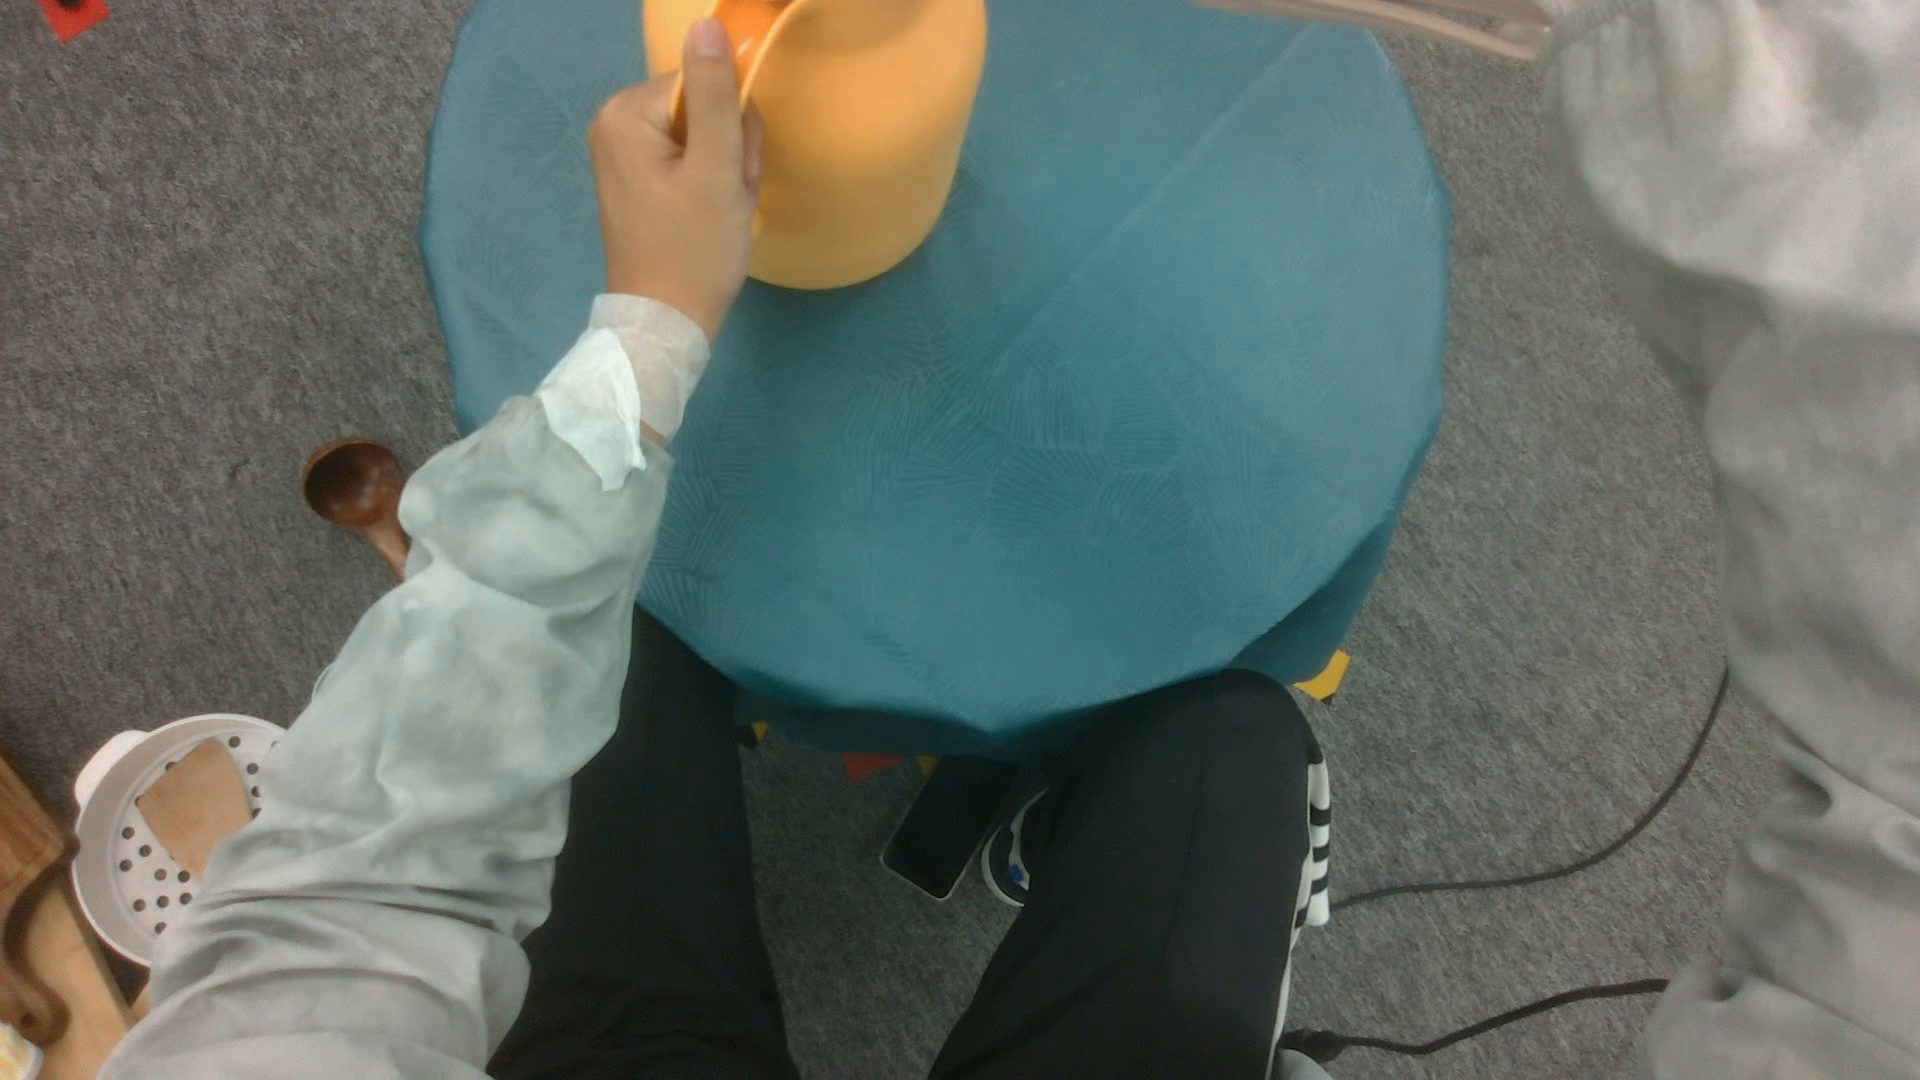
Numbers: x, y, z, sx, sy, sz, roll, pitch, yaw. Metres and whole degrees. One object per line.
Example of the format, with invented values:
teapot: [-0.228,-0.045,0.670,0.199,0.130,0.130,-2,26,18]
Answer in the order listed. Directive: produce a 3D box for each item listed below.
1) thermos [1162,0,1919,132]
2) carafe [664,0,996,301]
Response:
thermos: [0.170,-0.240,0.433,0.406,0.207,0.175,12,96,3]
carafe: [-0.074,-0.221,0.674,0.163,0.259,0.203,28,72,1]
